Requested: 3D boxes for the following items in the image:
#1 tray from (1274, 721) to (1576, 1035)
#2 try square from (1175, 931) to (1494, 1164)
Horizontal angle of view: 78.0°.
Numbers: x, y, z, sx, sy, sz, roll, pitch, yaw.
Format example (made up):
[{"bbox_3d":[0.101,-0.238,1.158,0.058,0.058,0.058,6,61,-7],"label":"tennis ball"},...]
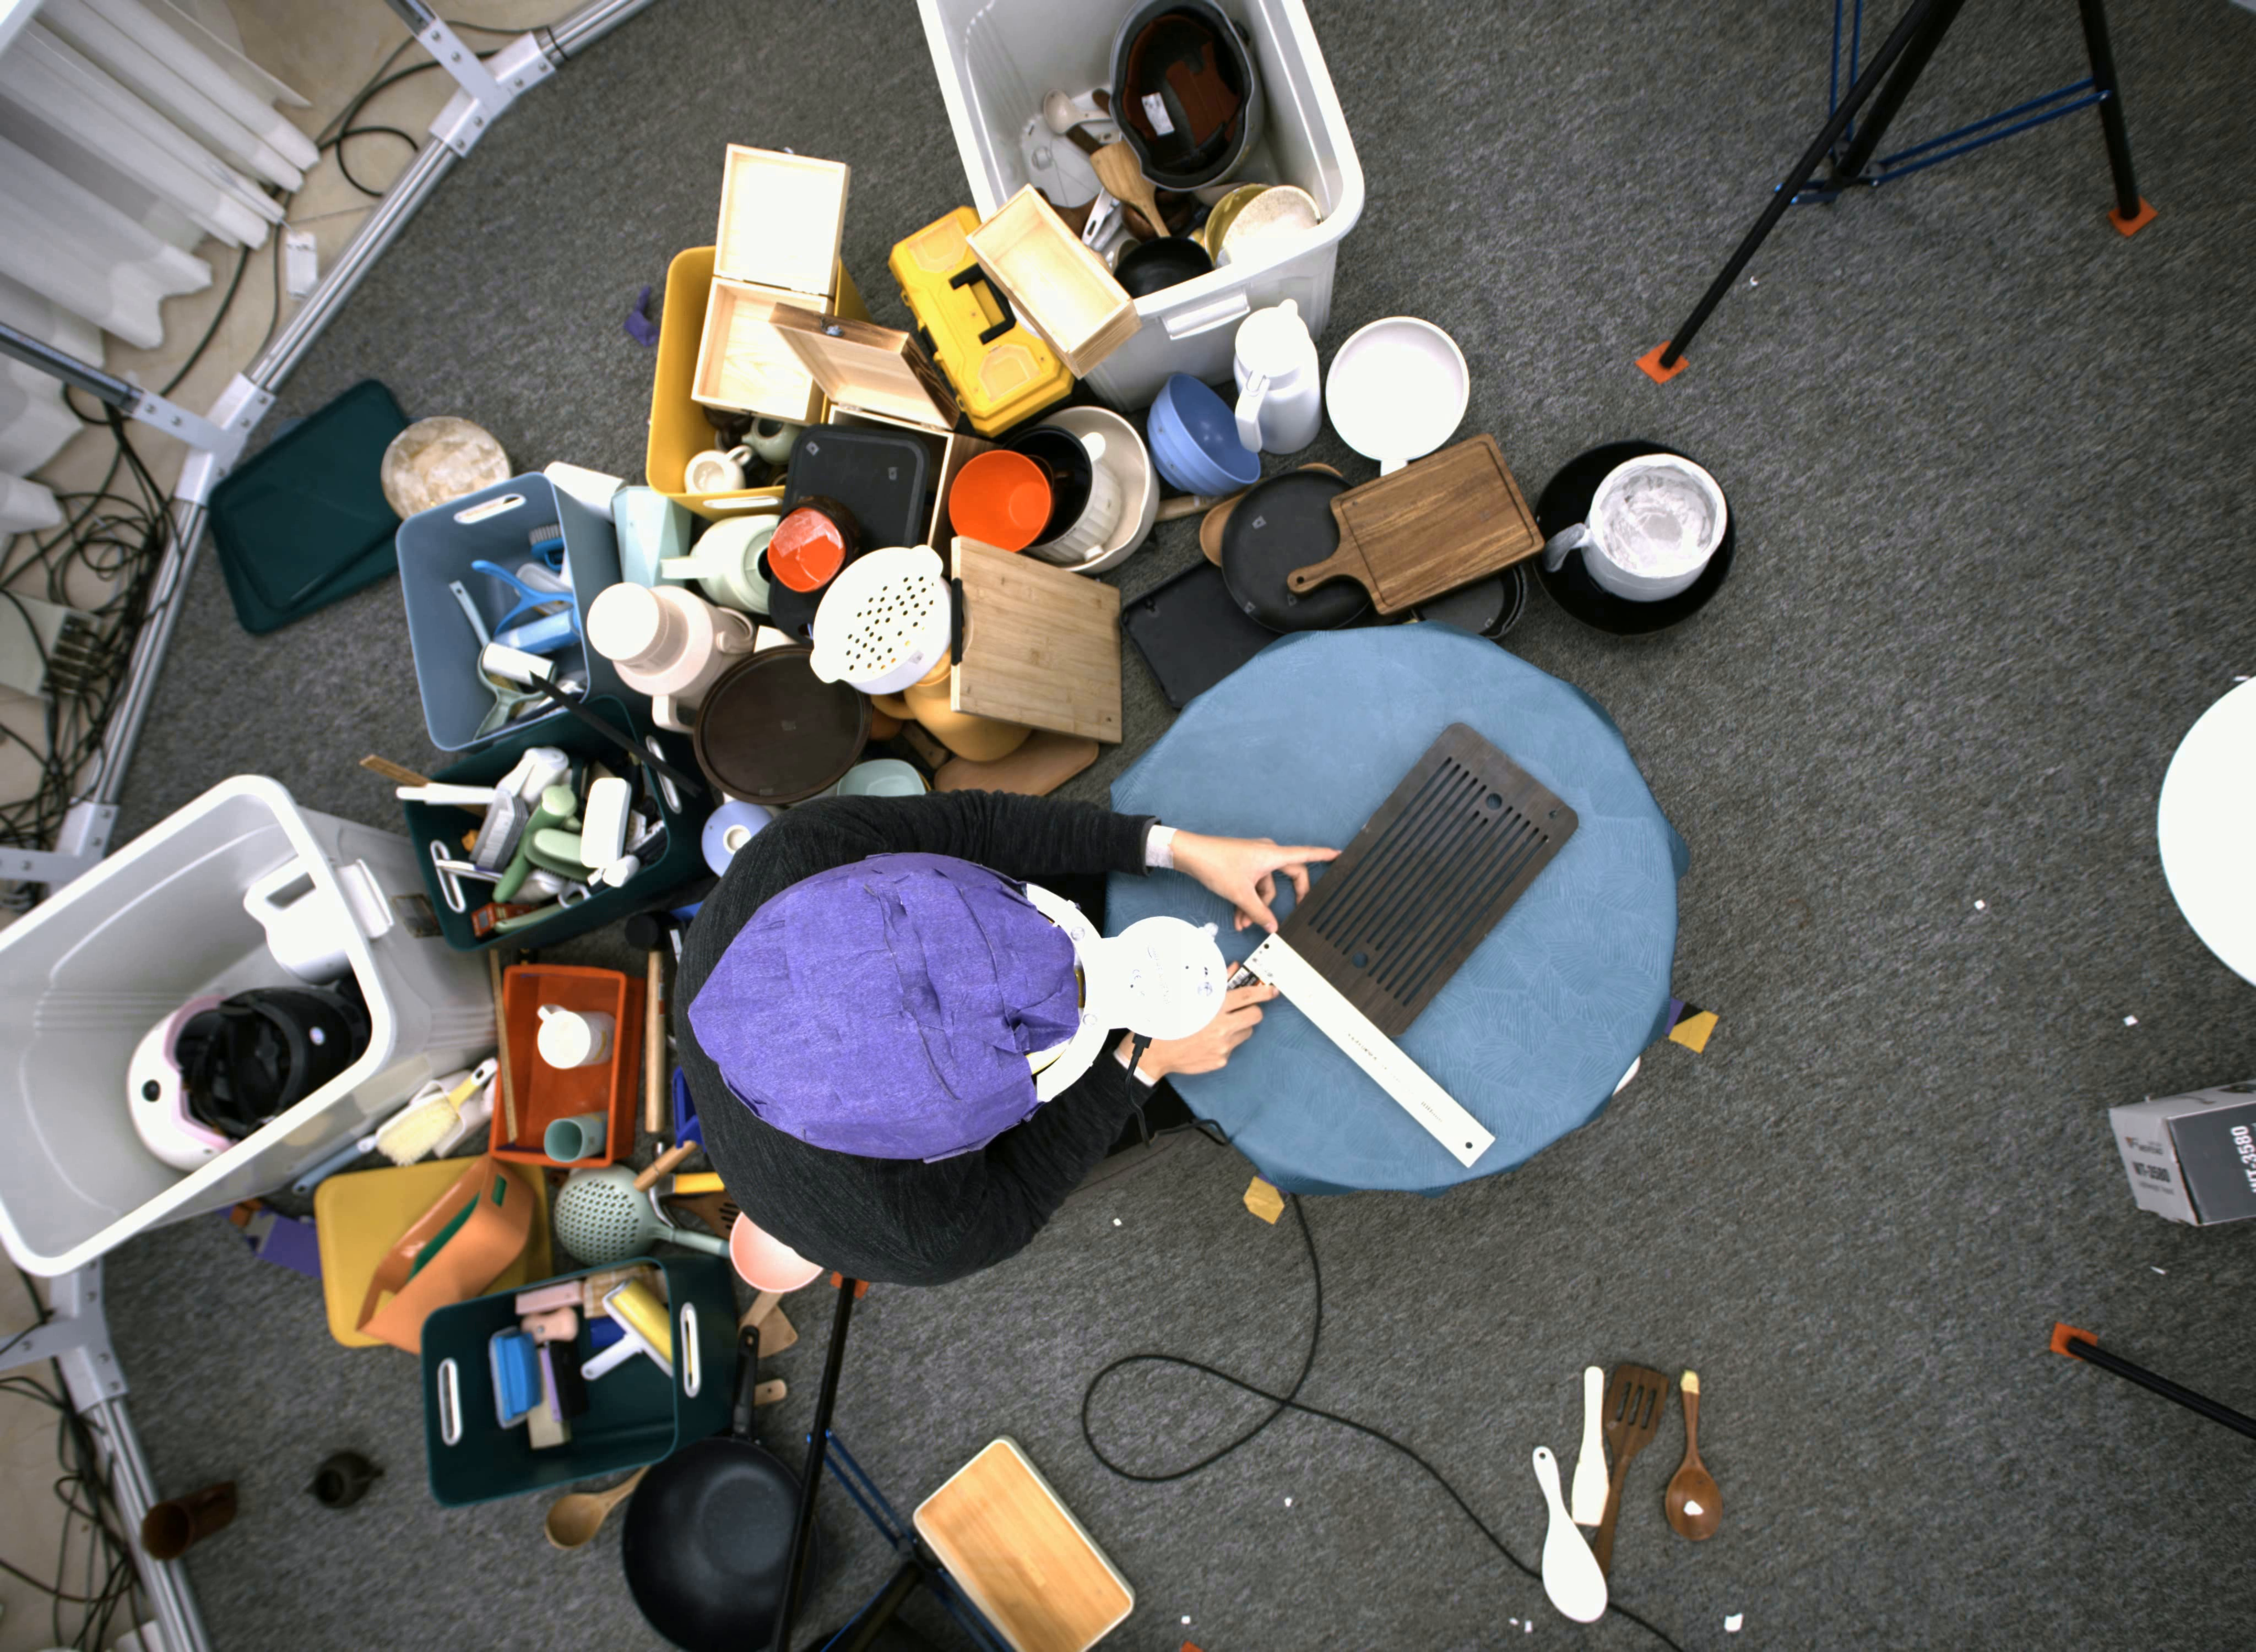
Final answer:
[{"bbox_3d":[0.309,0.052,1.443,0.169,0.018,0.307,41,95,8],"label":"tray"},{"bbox_3d":[0.212,0.266,1.443,0.312,0.016,0.153,43,95,8],"label":"try square"}]
